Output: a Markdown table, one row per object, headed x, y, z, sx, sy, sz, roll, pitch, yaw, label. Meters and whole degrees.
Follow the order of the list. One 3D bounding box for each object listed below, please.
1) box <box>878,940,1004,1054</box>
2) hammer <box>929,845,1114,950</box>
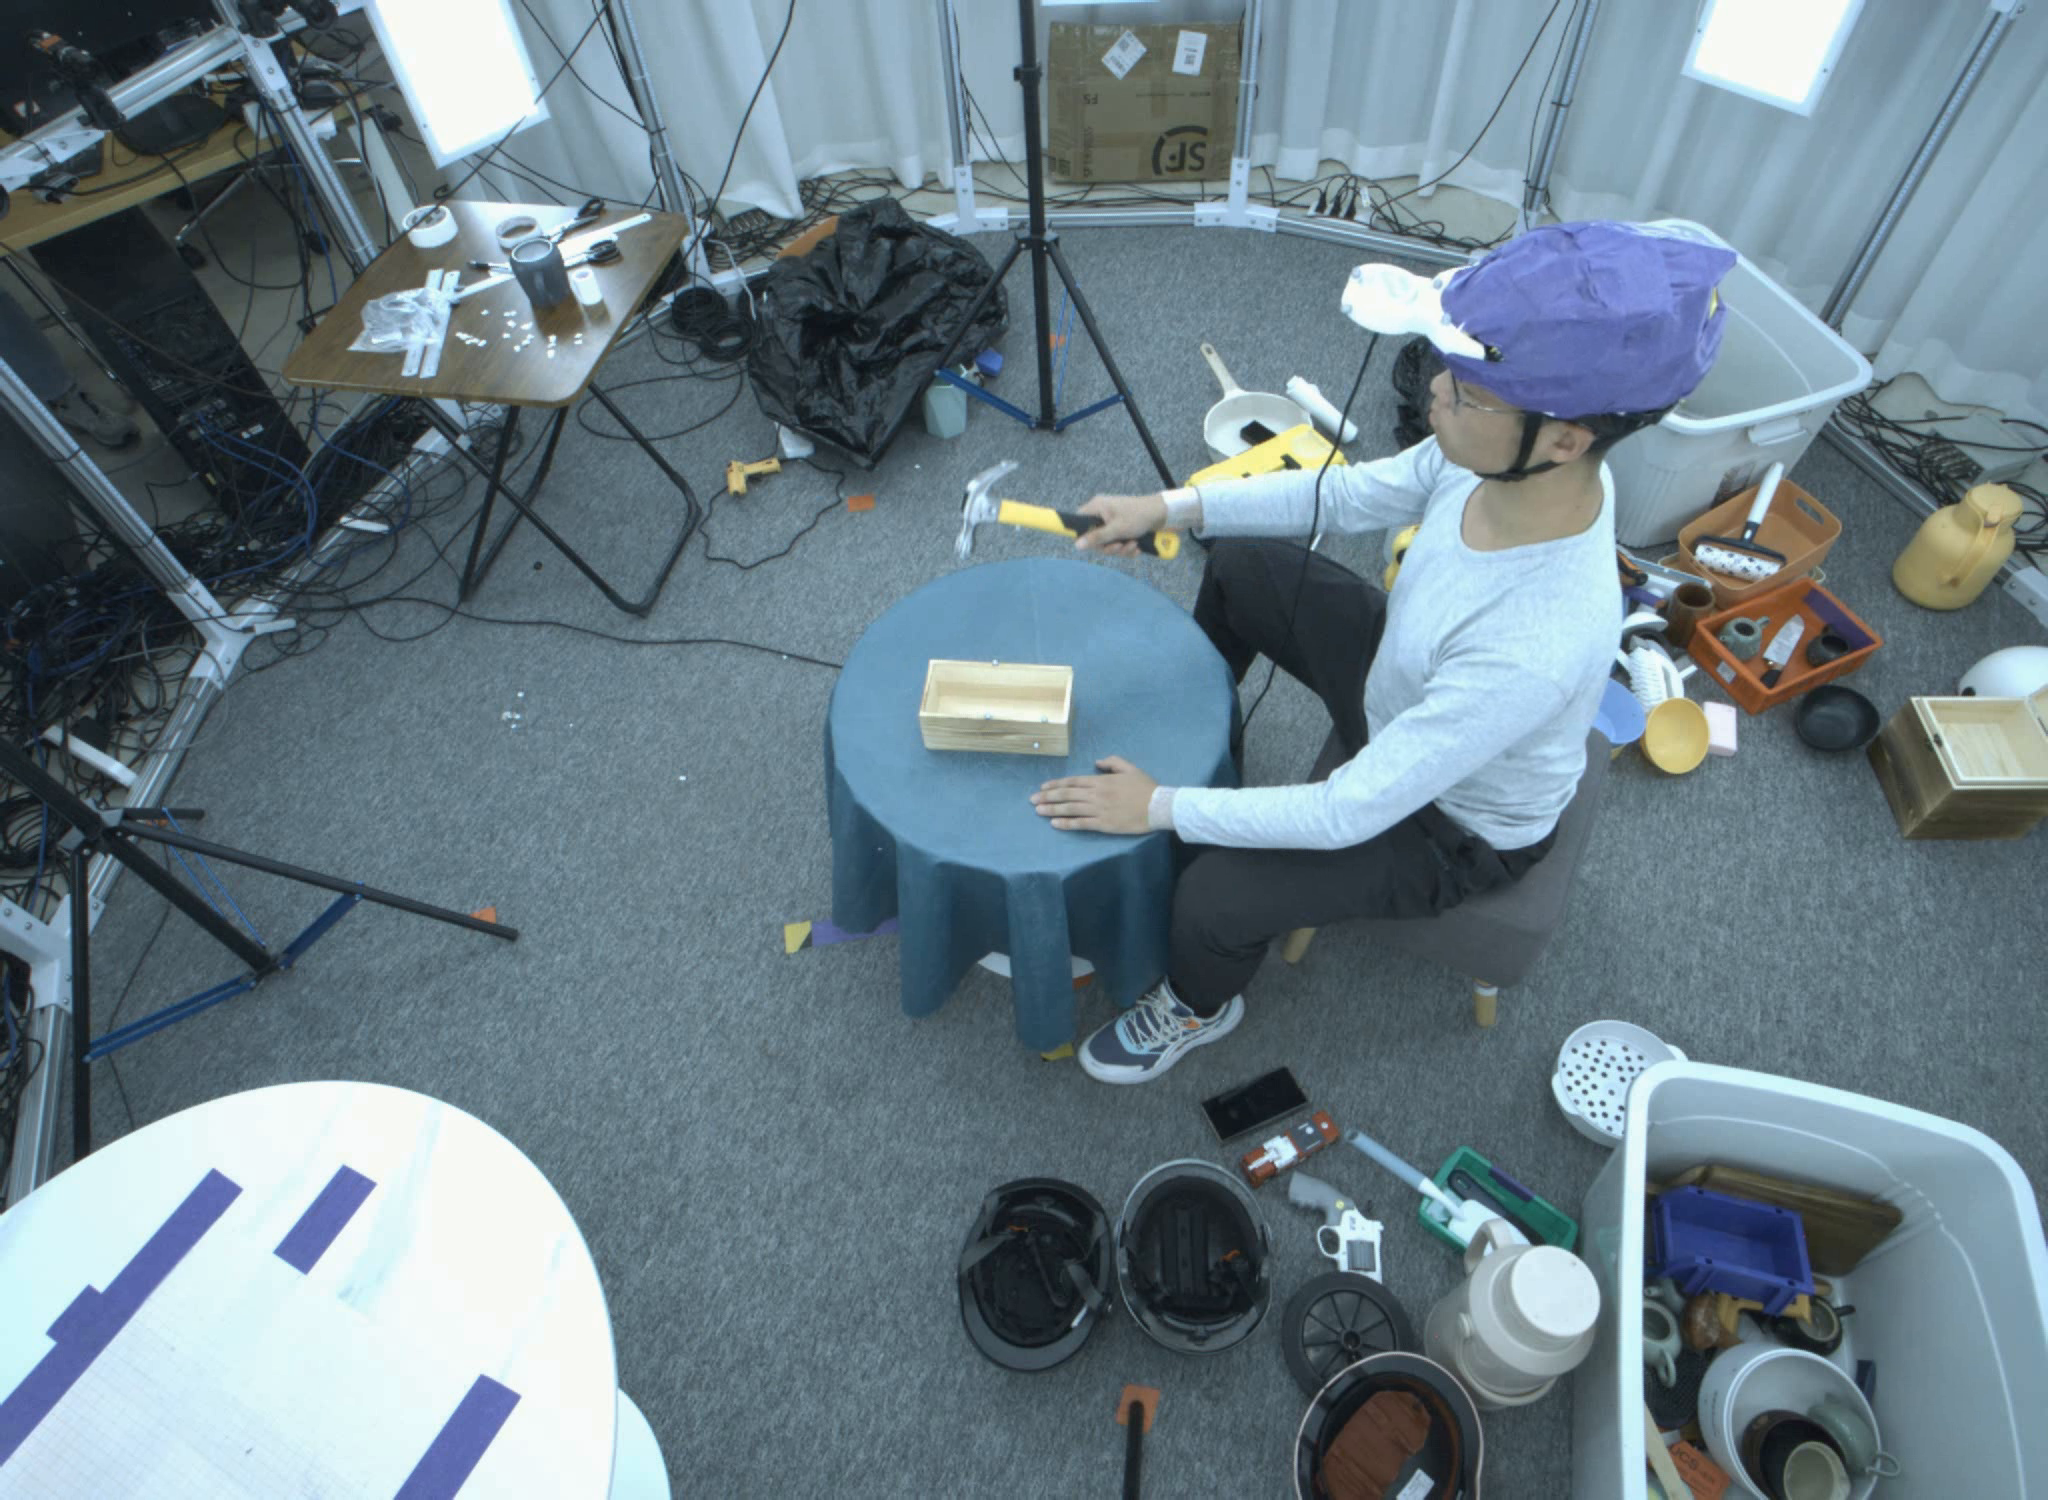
| x | y | z | sx | sy | sz | roll | pitch | yaw | label |
| --- | --- | --- | --- | --- | --- | --- | --- | --- | --- |
| -0.156 | 0.463 | 2.308 | 0.208 | 0.081 | 0.108 | 26 | 59 | 19 | box |
| 0.008 | 0.275 | 2.196 | 0.342 | 0.131 | 0.032 | 26 | 22 | -13 | hammer |
